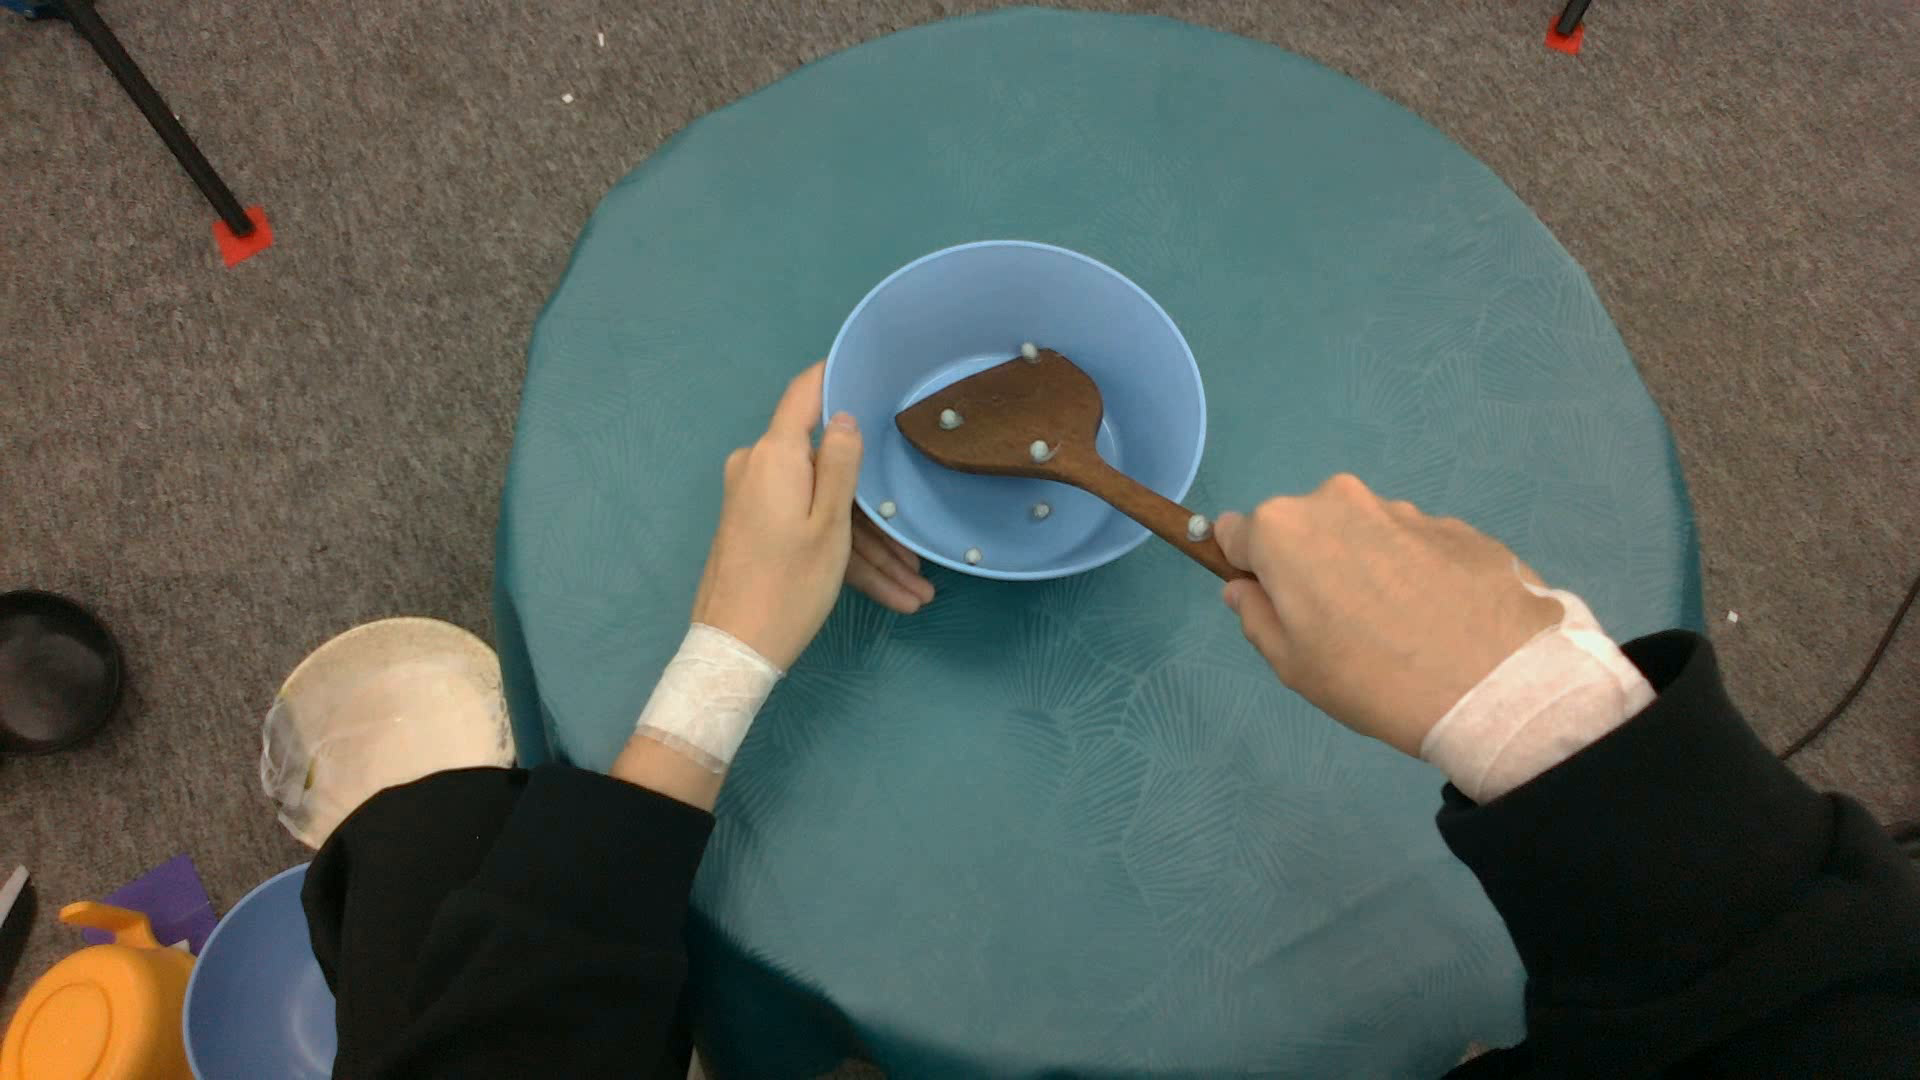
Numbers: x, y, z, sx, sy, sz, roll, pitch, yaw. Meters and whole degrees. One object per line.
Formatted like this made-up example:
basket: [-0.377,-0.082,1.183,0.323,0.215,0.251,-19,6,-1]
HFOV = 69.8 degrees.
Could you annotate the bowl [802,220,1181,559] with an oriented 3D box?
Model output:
bowl: [0.012,-0.061,0.658,0.176,0.070,0.176,3,67,-6]

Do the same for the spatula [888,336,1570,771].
spatula: [0.082,-0.013,0.540,0.096,0.016,0.386,-26,31,-16]
